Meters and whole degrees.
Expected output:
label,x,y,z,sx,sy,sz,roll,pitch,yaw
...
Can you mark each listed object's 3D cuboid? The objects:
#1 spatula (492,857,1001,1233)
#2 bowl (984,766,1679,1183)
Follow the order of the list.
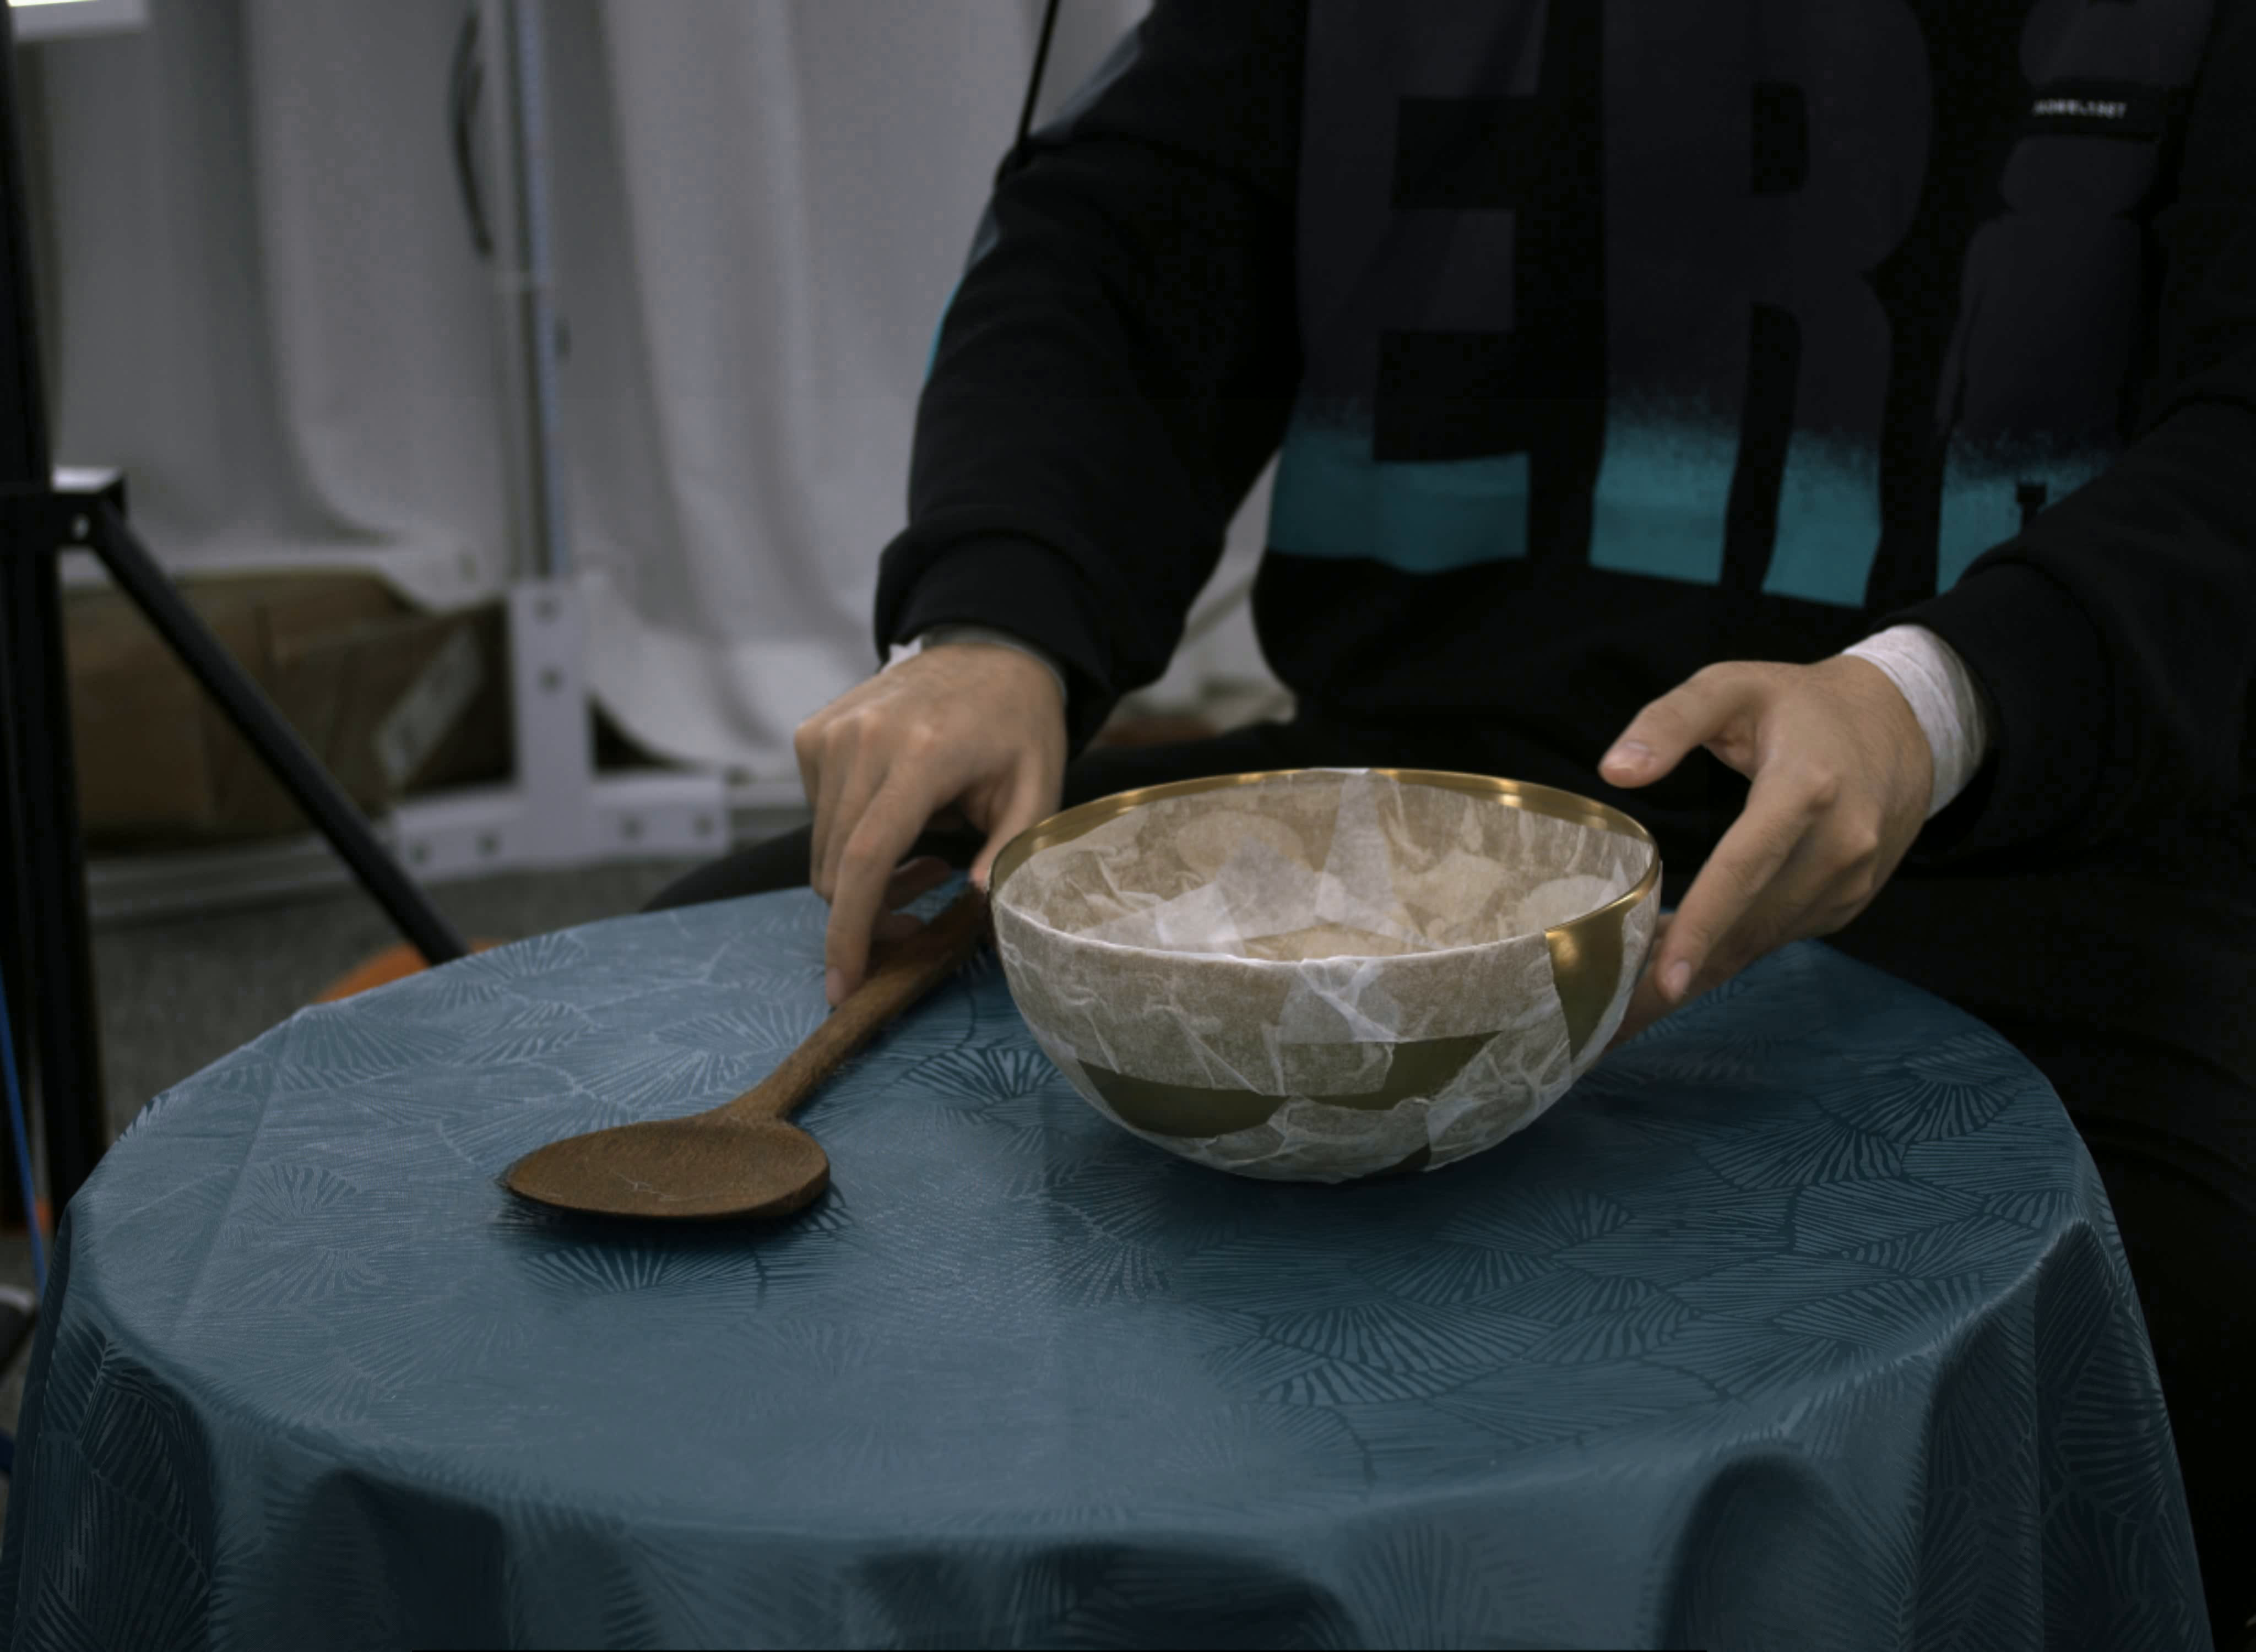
label,x,y,z,sx,sy,sz,roll,pitch,yaw
spatula,-0.088,0.063,1.703,0.097,0.016,0.382,4,18,18
bowl,0.062,0.052,1.577,0.213,0.094,0.216,-3,14,-1
